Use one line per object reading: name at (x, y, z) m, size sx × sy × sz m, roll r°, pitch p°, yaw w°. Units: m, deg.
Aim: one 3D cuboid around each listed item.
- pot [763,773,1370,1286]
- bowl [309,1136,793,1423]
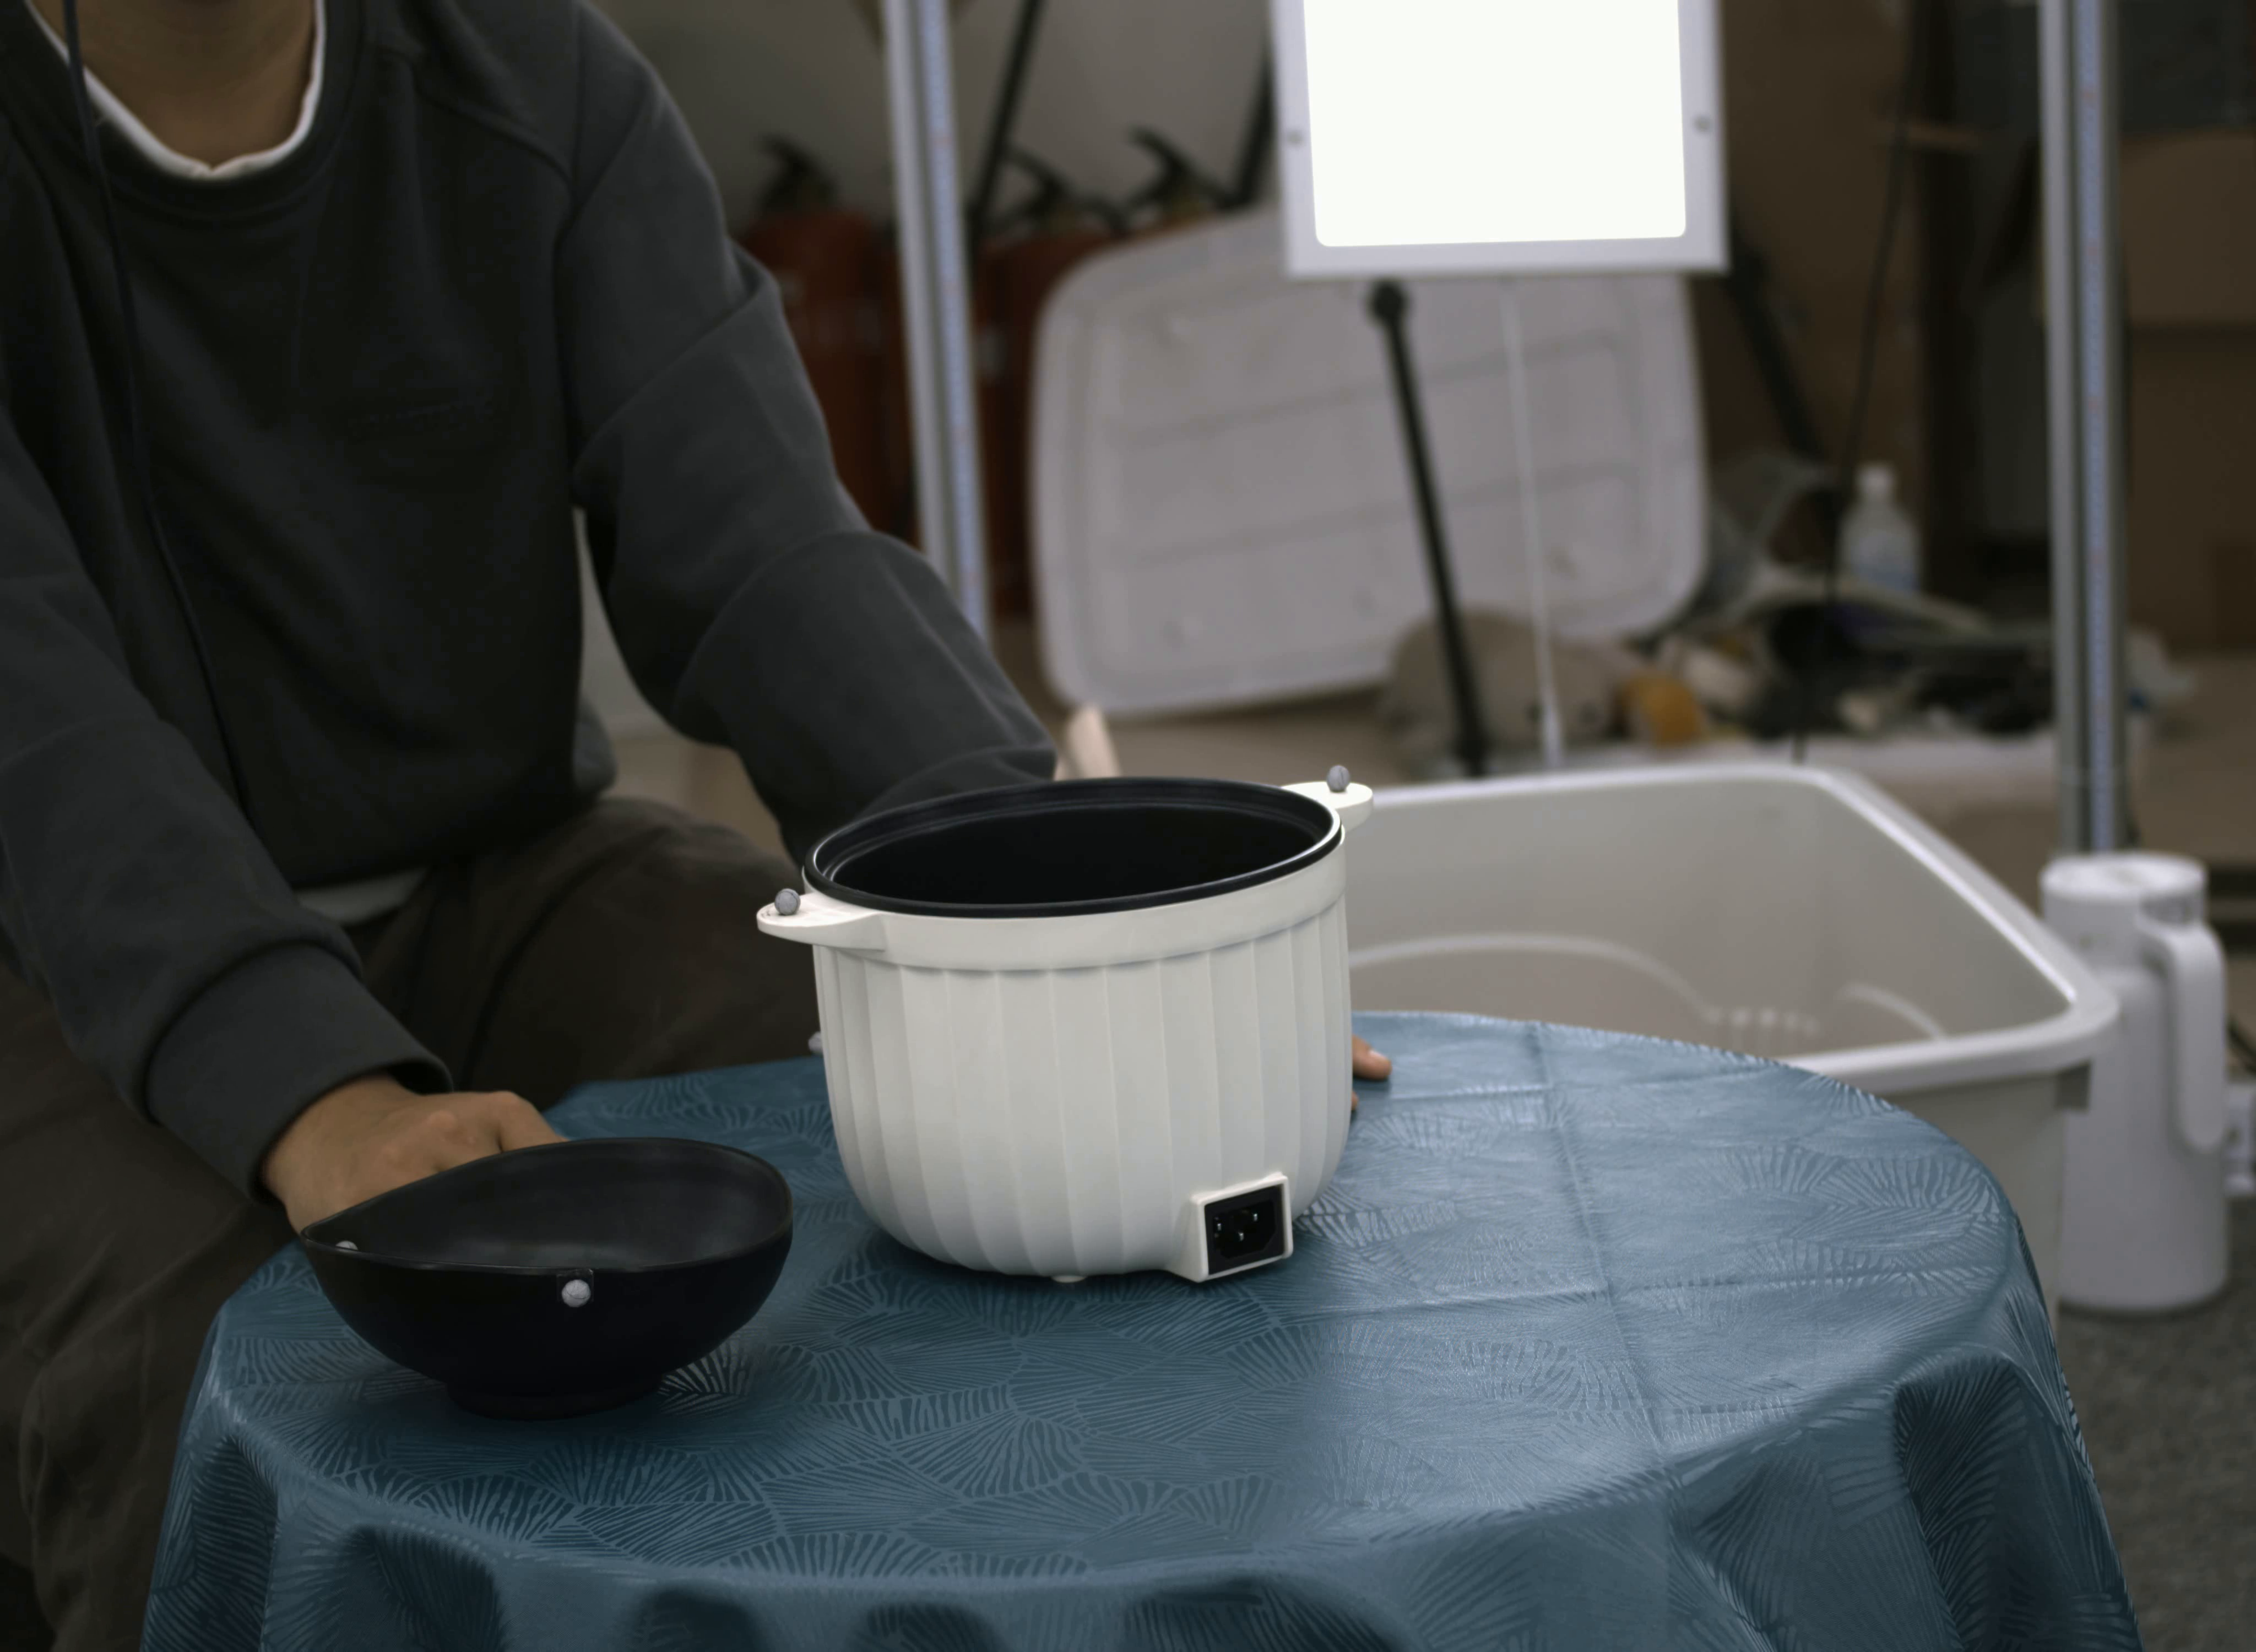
pot at (-0.018, 0.068, 1.853) m, size 0.234 × 0.143 × 0.194 m, roll -12°, pitch 18°, yaw -32°
bowl at (-0.181, 0.147, 1.742) m, size 0.174 × 0.067 × 0.134 m, roll 3°, pitch 15°, yaw 35°
